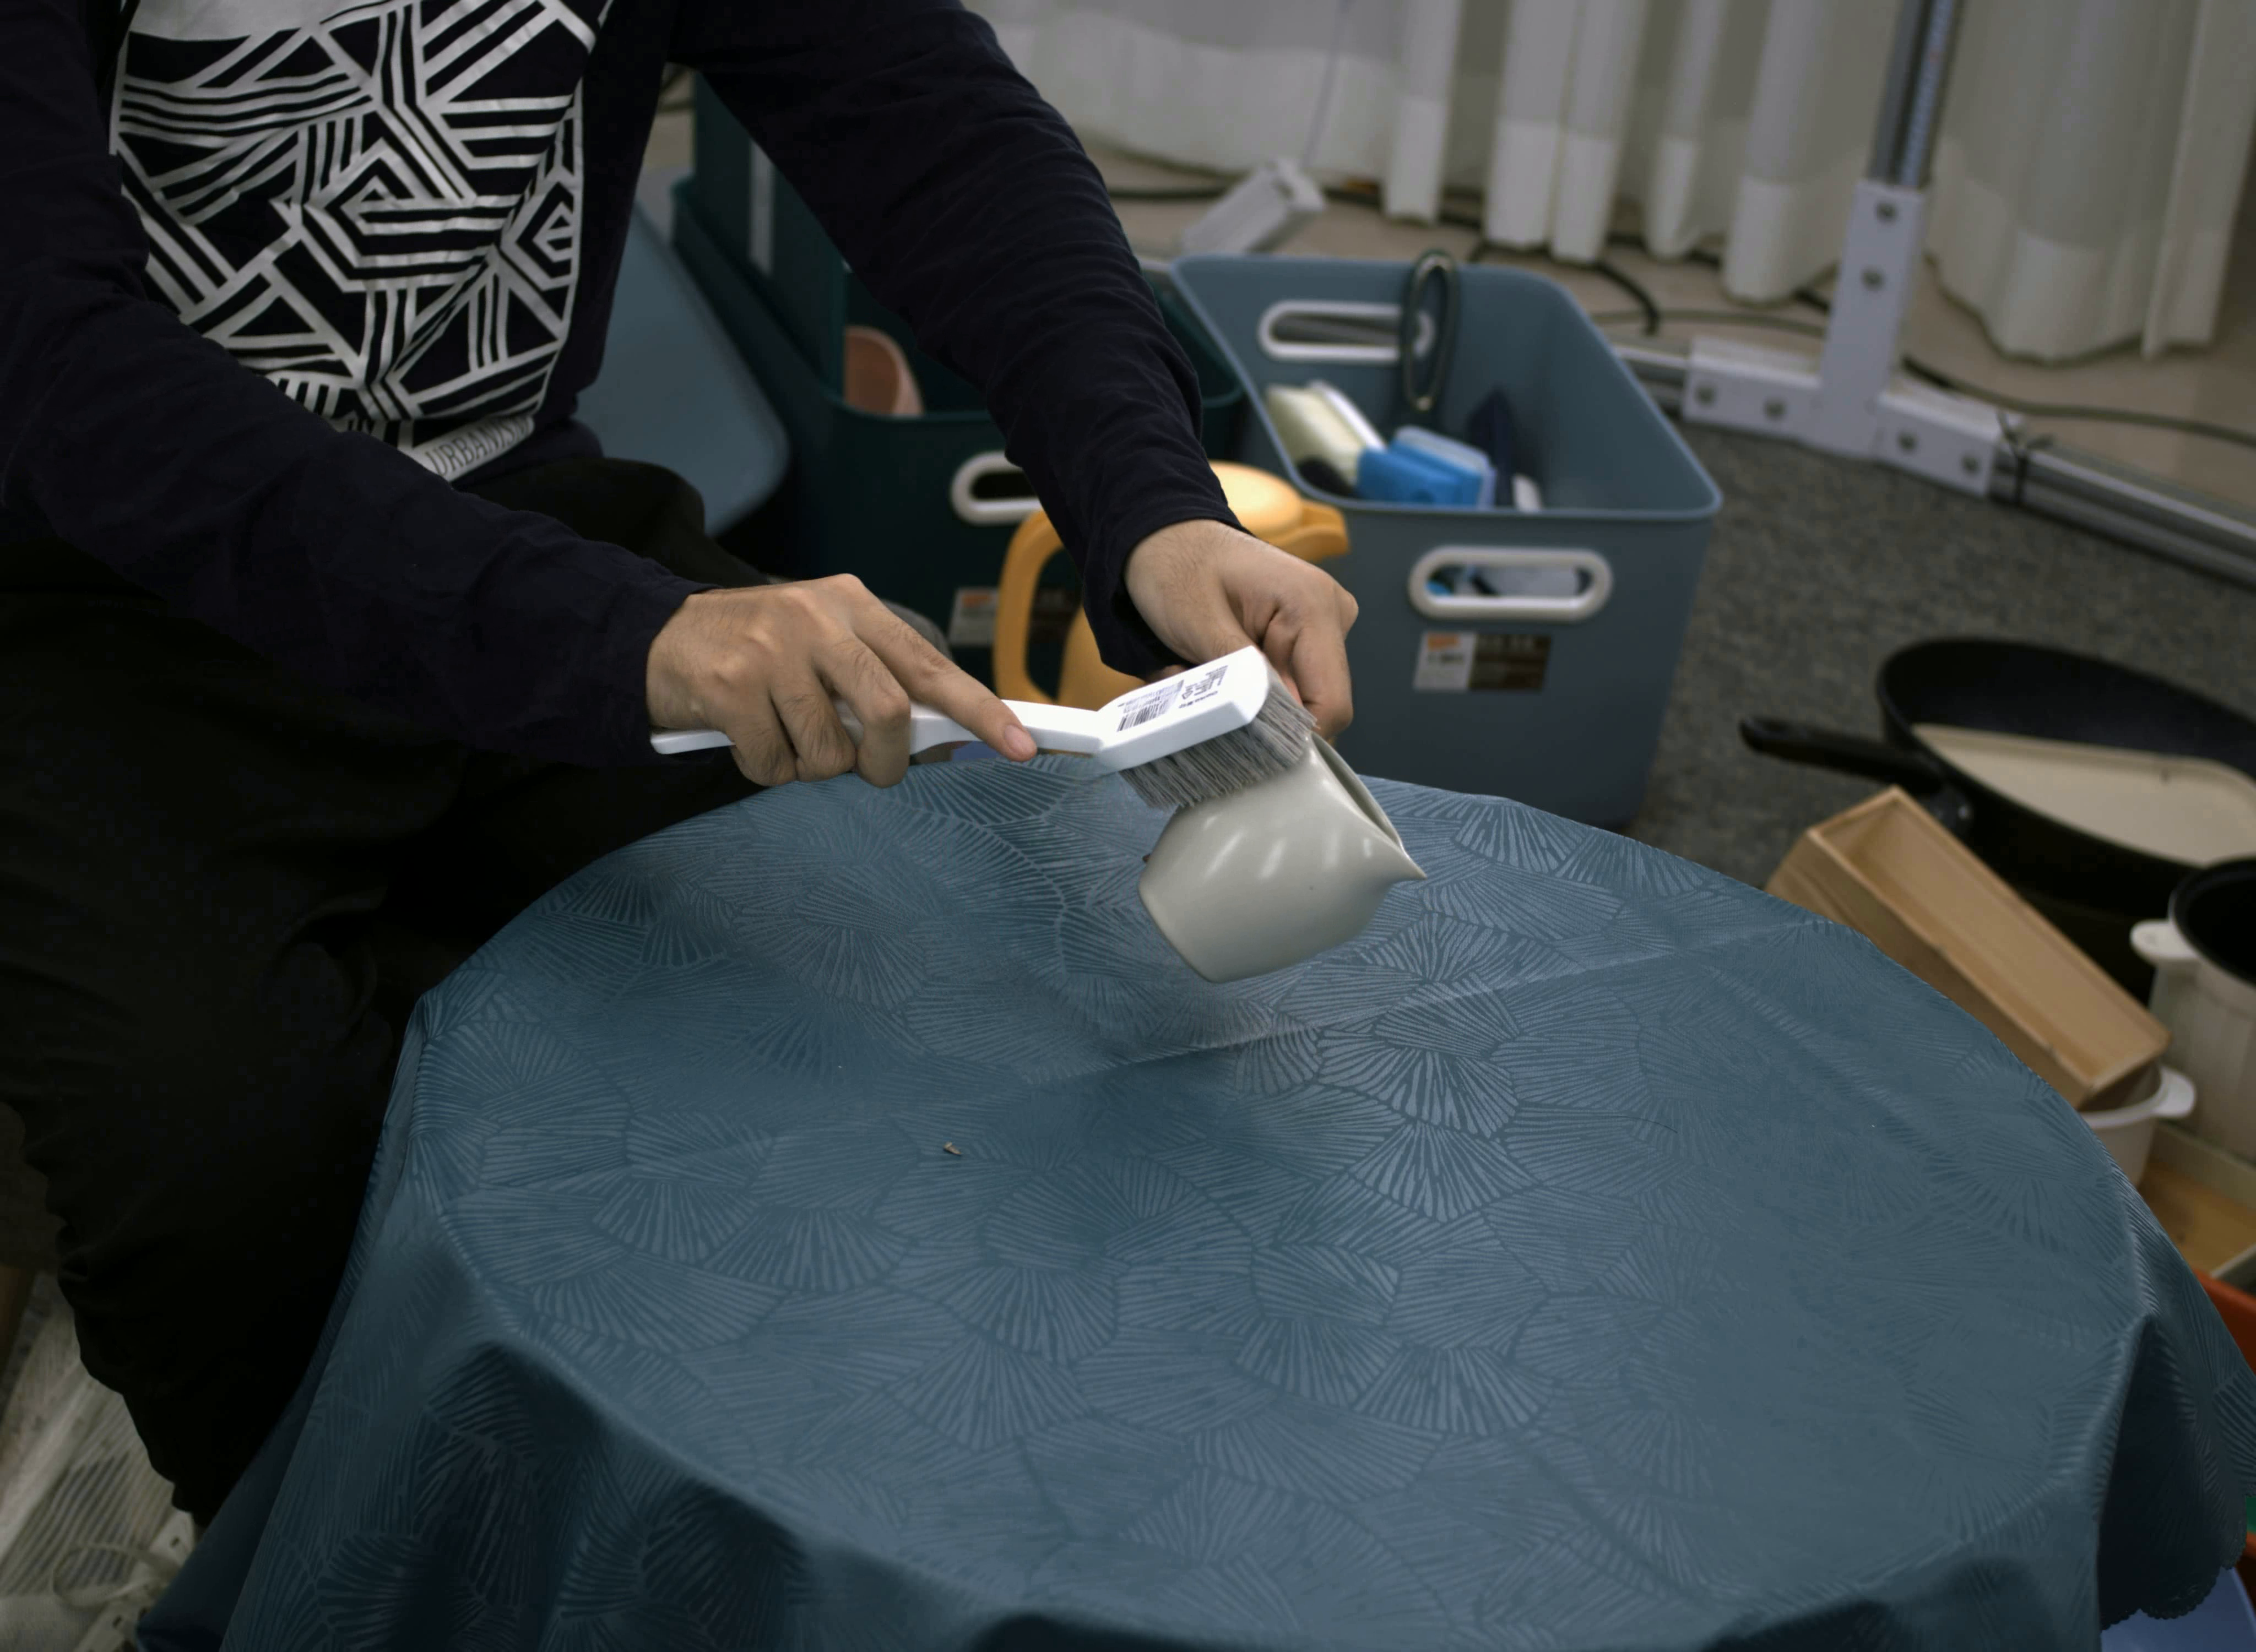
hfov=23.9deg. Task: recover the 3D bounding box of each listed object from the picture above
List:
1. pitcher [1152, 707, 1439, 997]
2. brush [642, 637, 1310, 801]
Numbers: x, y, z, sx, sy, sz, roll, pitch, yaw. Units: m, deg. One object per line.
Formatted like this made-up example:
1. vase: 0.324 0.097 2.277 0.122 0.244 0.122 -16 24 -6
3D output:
1. pitcher: 0.054 0.012 1.876 0.088 0.075 0.120 -35 45 12
2. brush: -0.055 -0.028 1.879 0.244 0.050 0.034 -6 40 19
